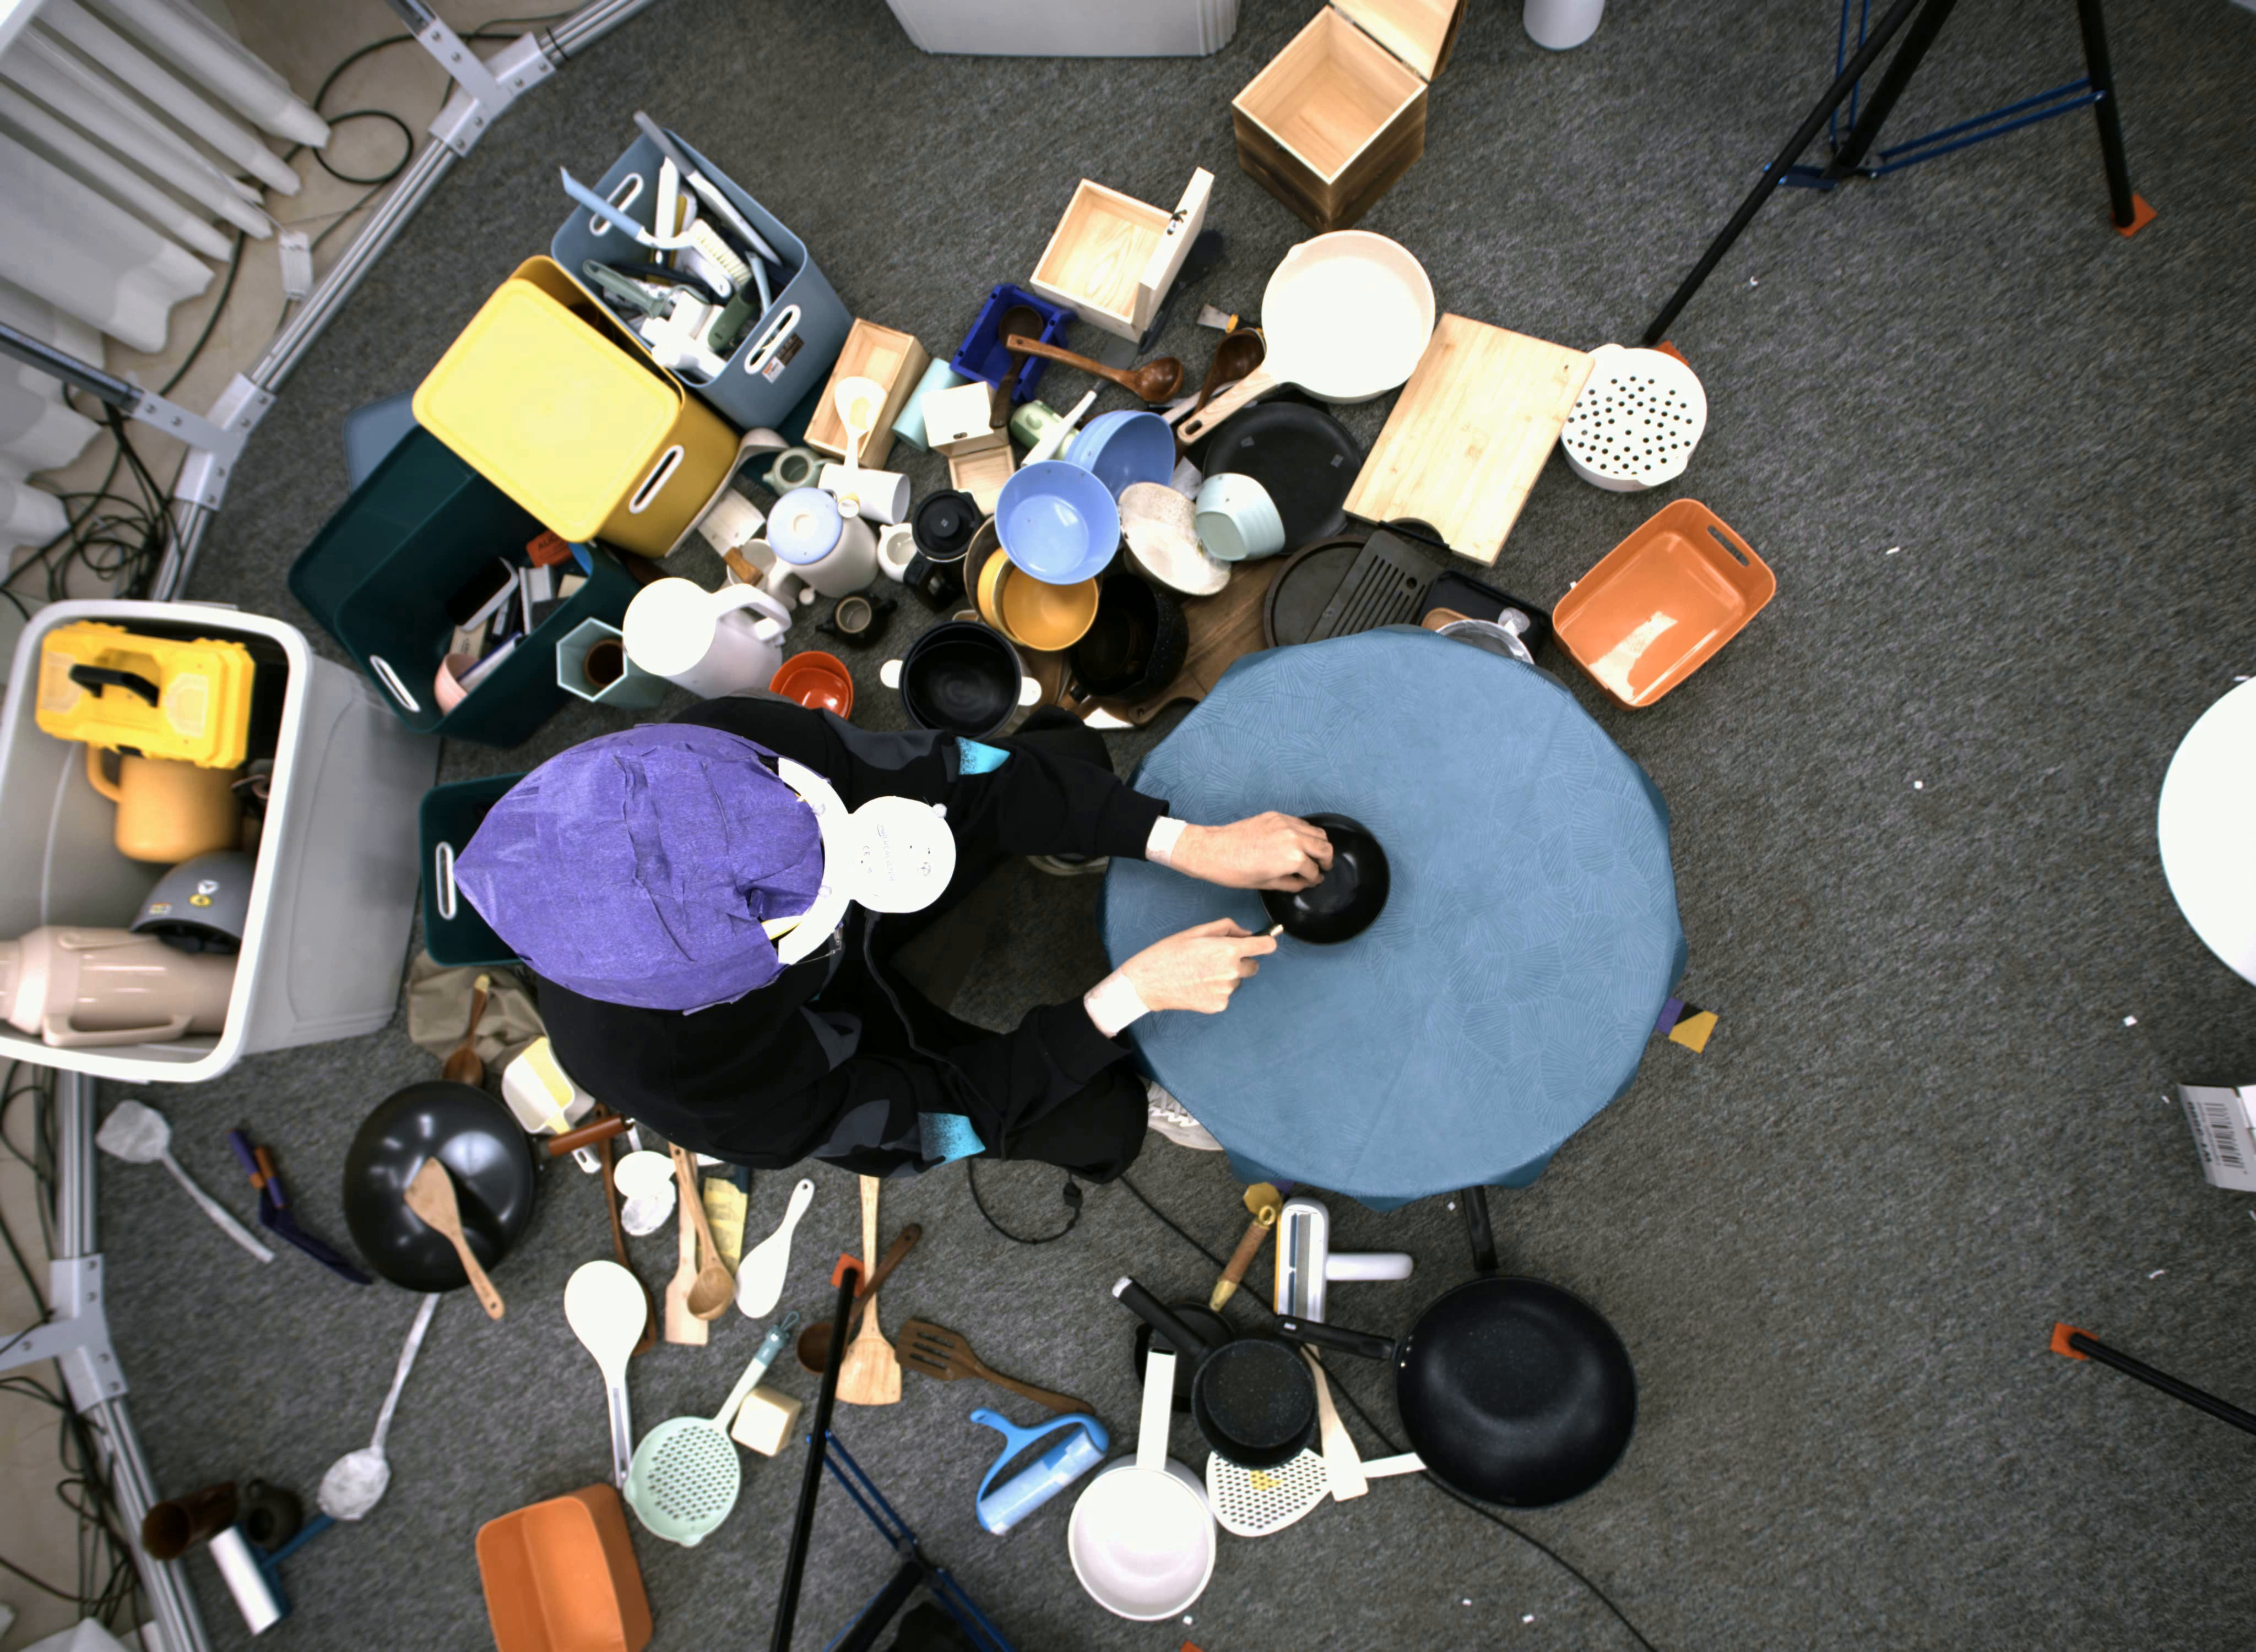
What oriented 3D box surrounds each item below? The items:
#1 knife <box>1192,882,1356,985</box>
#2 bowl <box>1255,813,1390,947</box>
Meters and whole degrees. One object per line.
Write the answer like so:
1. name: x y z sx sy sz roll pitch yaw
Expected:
1. knife: 0.153 0.105 1.415 0.222 0.026 0.017 -28 88 -24
2. bowl: 0.206 0.056 1.451 0.141 0.049 0.139 -1 89 14
